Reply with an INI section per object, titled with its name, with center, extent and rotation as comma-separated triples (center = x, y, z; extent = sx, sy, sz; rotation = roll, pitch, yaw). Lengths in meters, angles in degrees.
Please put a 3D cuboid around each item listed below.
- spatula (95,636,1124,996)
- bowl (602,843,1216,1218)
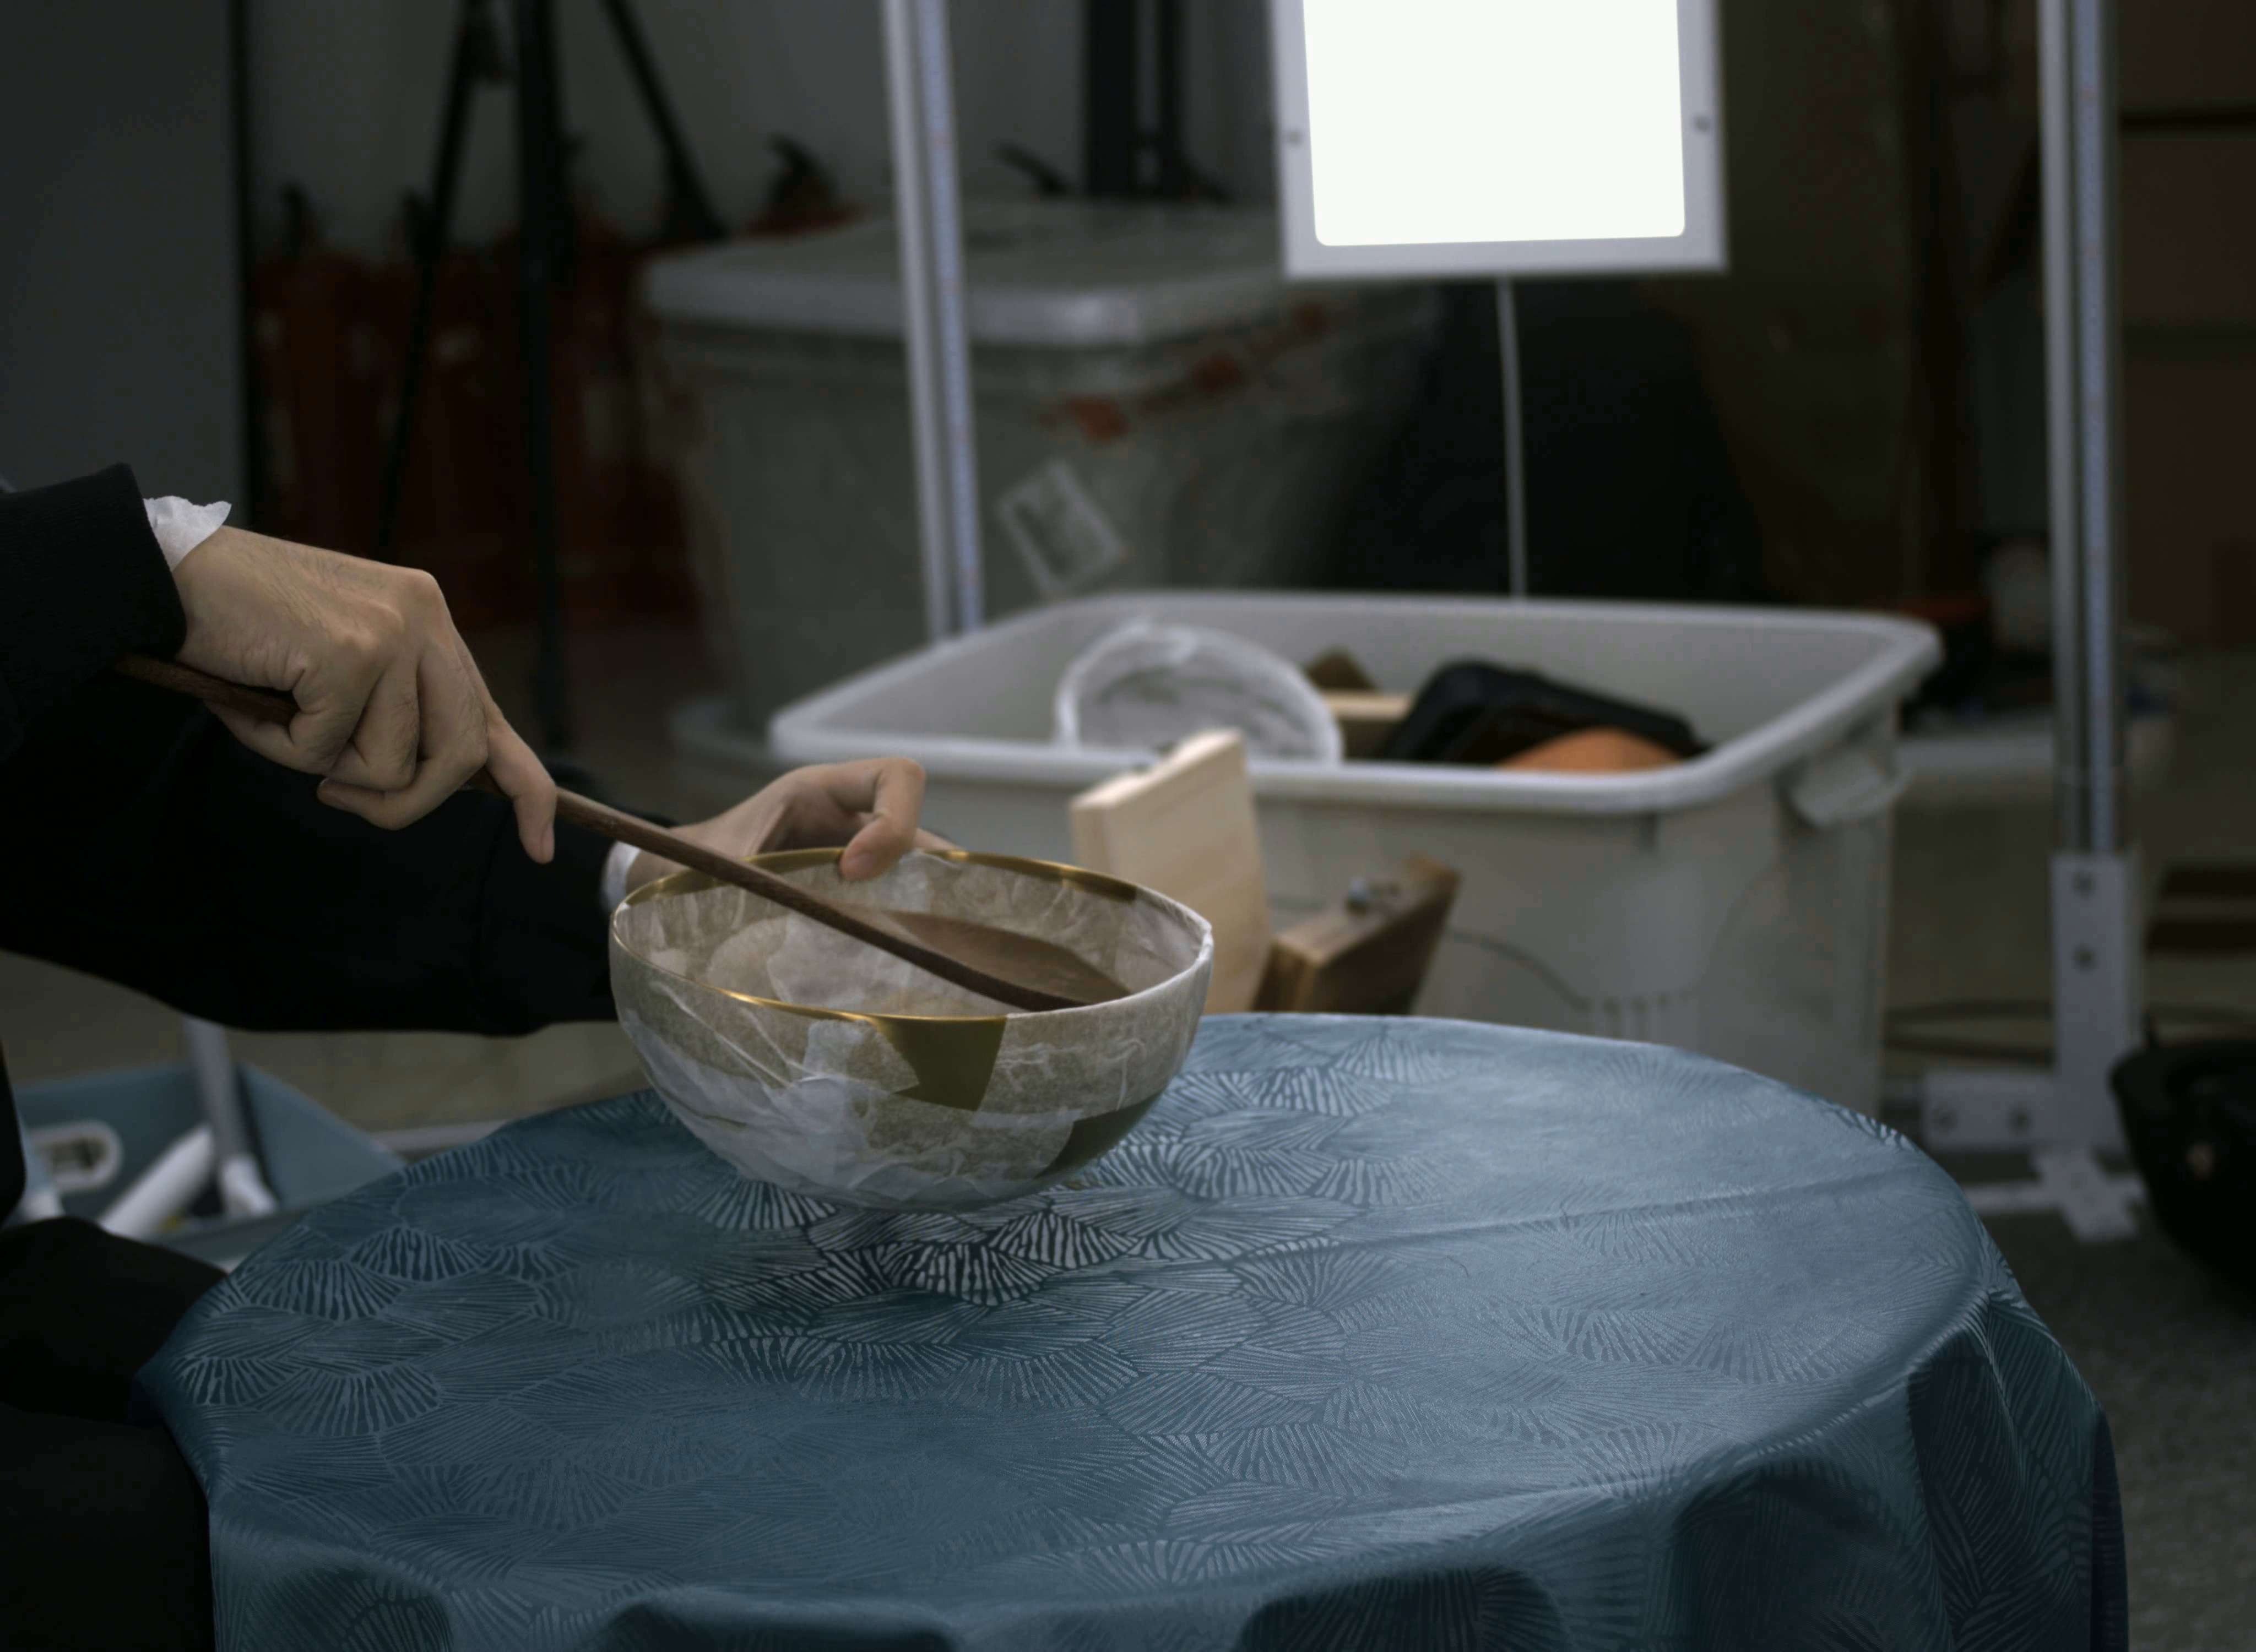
[spatula]
center = -0.157, 0.001, 1.795
extent = 0.379, 0.016, 0.097
rotation = 21, 7, -25
[bowl]
center = -0.075, 0.075, 1.842
extent = 0.214, 0.095, 0.214
rotation = 0, 16, -1
